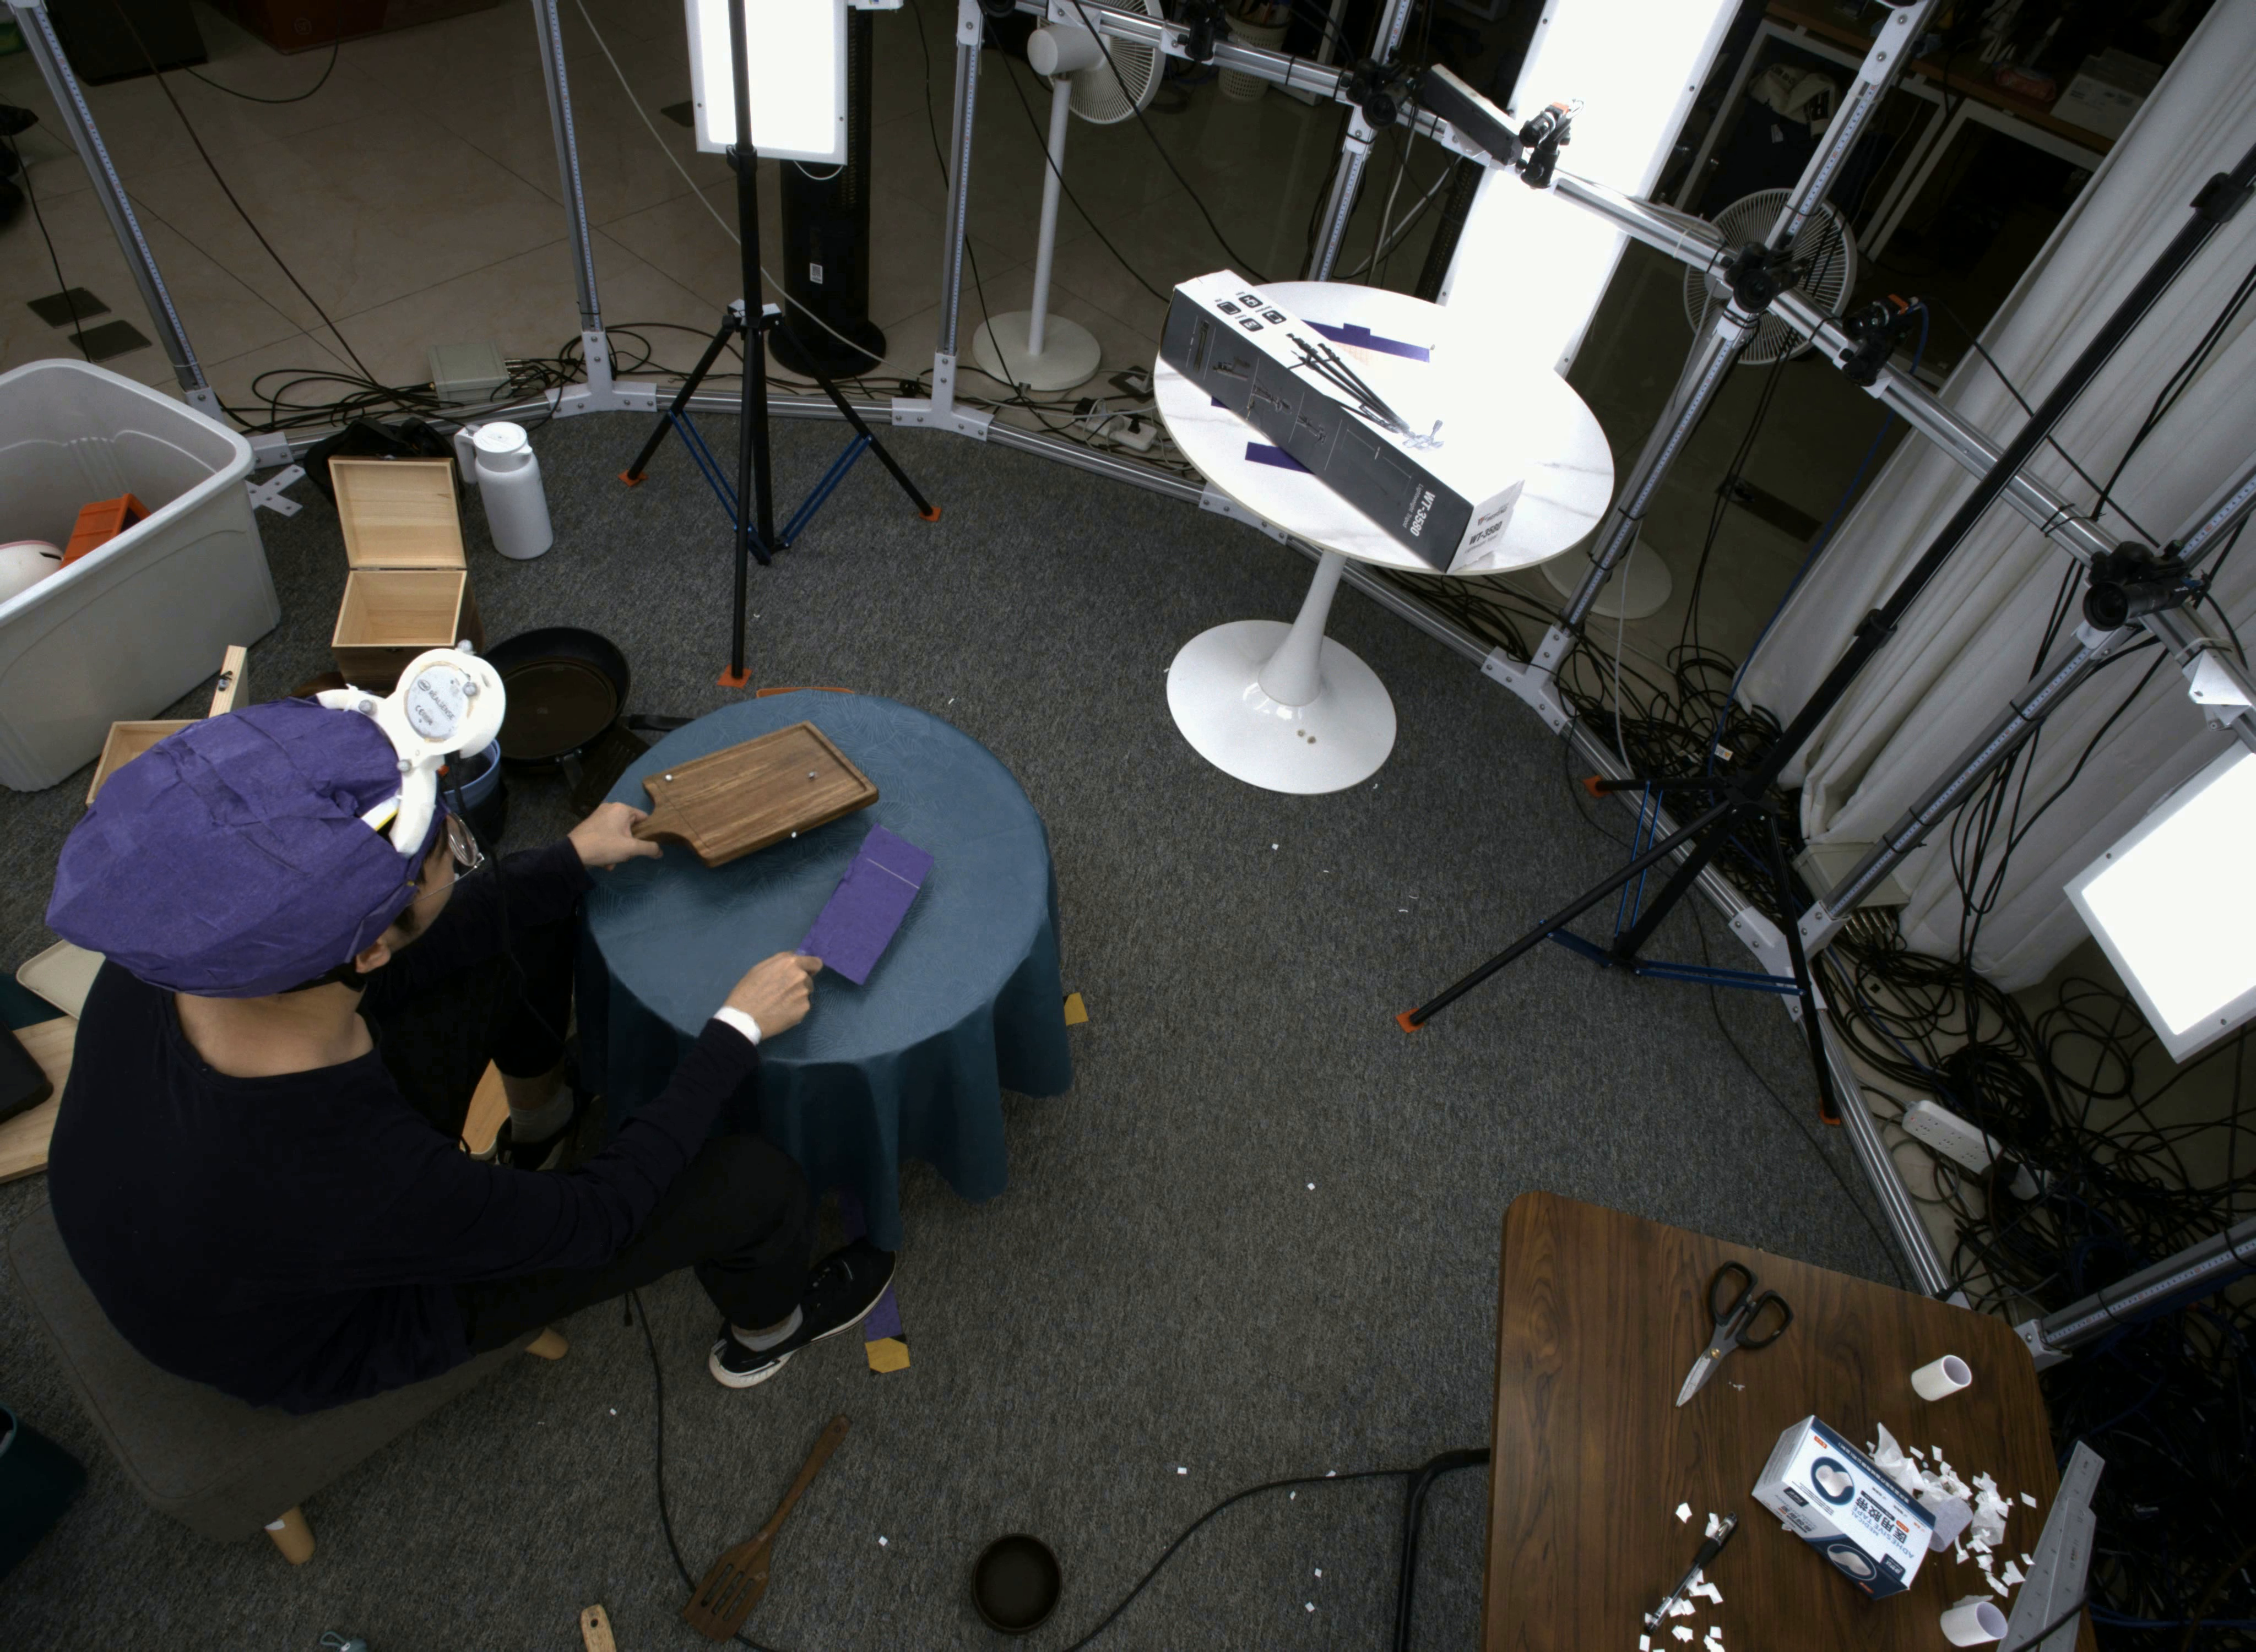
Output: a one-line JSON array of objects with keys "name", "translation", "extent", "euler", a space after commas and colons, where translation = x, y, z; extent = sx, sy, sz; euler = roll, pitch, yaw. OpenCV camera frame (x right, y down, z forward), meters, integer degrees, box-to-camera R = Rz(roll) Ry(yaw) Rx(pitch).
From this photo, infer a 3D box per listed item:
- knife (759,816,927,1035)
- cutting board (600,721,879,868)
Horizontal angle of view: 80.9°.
[{"name": "knife", "translation": [-0.341, 0.129, 1.601], "extent": [0.105, 0.032, 0.313], "euler": [32, 58, -12]}, {"name": "cutting board", "translation": [-0.522, -0.031, 1.681], "extent": [0.354, 0.024, 0.194], "euler": [-25, 49, -32]}]
